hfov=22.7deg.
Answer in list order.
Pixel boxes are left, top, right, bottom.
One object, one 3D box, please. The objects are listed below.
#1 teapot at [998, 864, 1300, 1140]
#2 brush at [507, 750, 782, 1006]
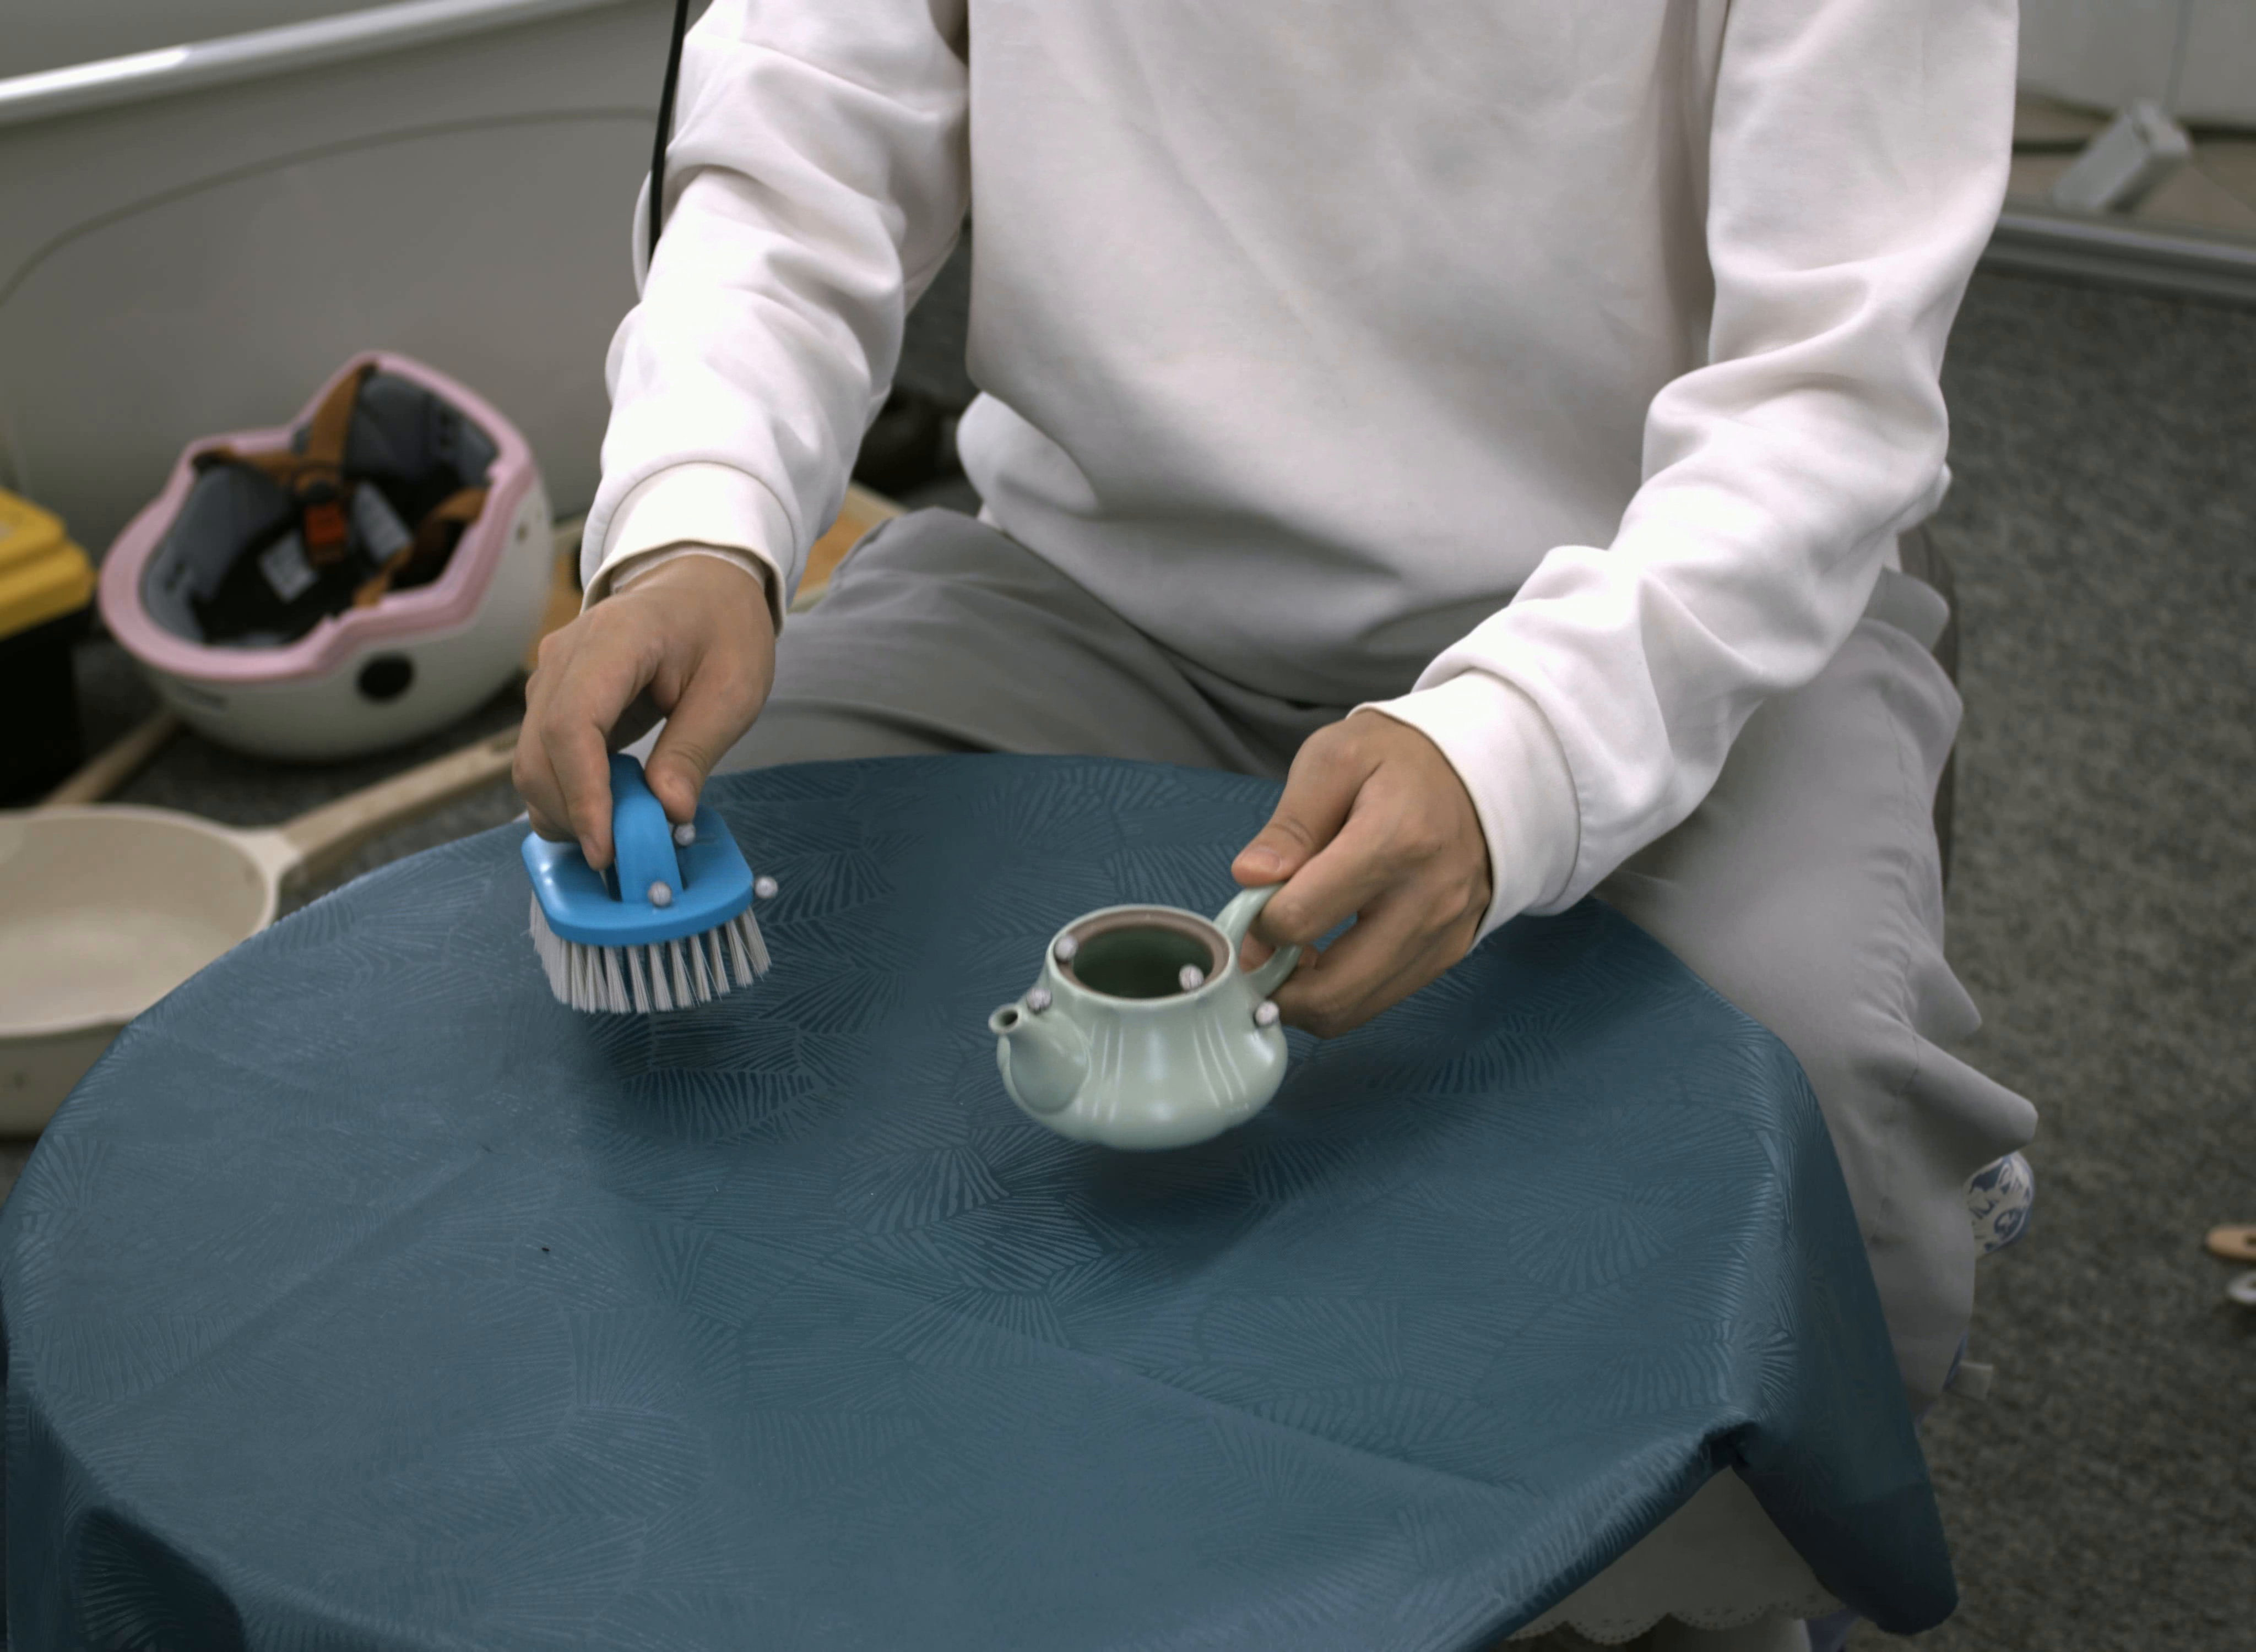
[{"bbox_3d":[0.008,0.060,1.857,0.138,0.060,0.096,-27,38,-36],"label":"teapot"},{"bbox_3d":[-0.173,0.011,1.956,0.084,0.063,0.142,-16,17,-10],"label":"brush"}]
